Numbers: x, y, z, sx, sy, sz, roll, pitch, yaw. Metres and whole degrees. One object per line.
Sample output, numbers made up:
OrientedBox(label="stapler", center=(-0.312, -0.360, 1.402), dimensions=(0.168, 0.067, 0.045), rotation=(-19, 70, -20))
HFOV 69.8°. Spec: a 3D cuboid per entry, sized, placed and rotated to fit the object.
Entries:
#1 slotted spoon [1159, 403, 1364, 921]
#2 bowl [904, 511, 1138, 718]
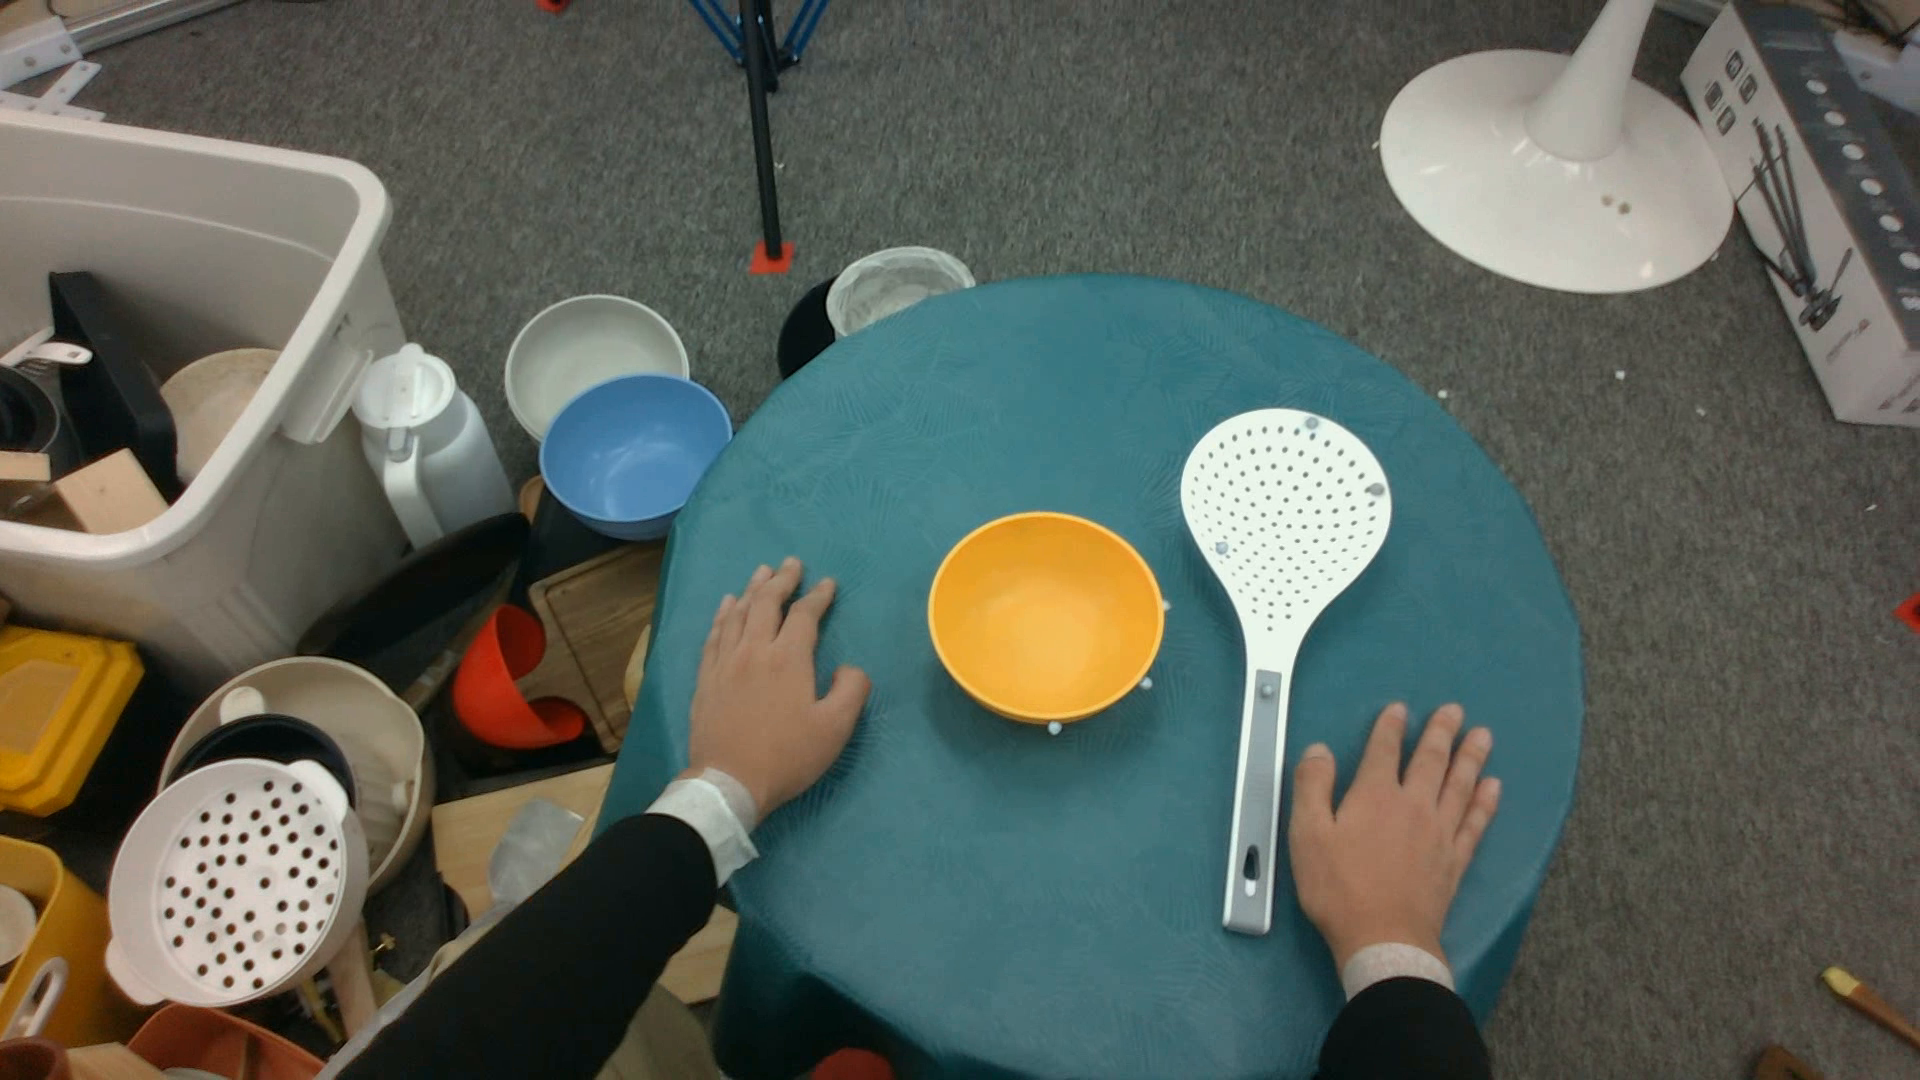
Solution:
OrientedBox(label="slotted spoon", center=(0.181, 0.064, 0.867), dimensions=(0.136, 0.045, 0.351), rotation=(9, 57, 4))
OrientedBox(label="bowl", center=(0.036, 0.056, 0.859), dimensions=(0.145, 0.060, 0.146), rotation=(1, 54, -2))
